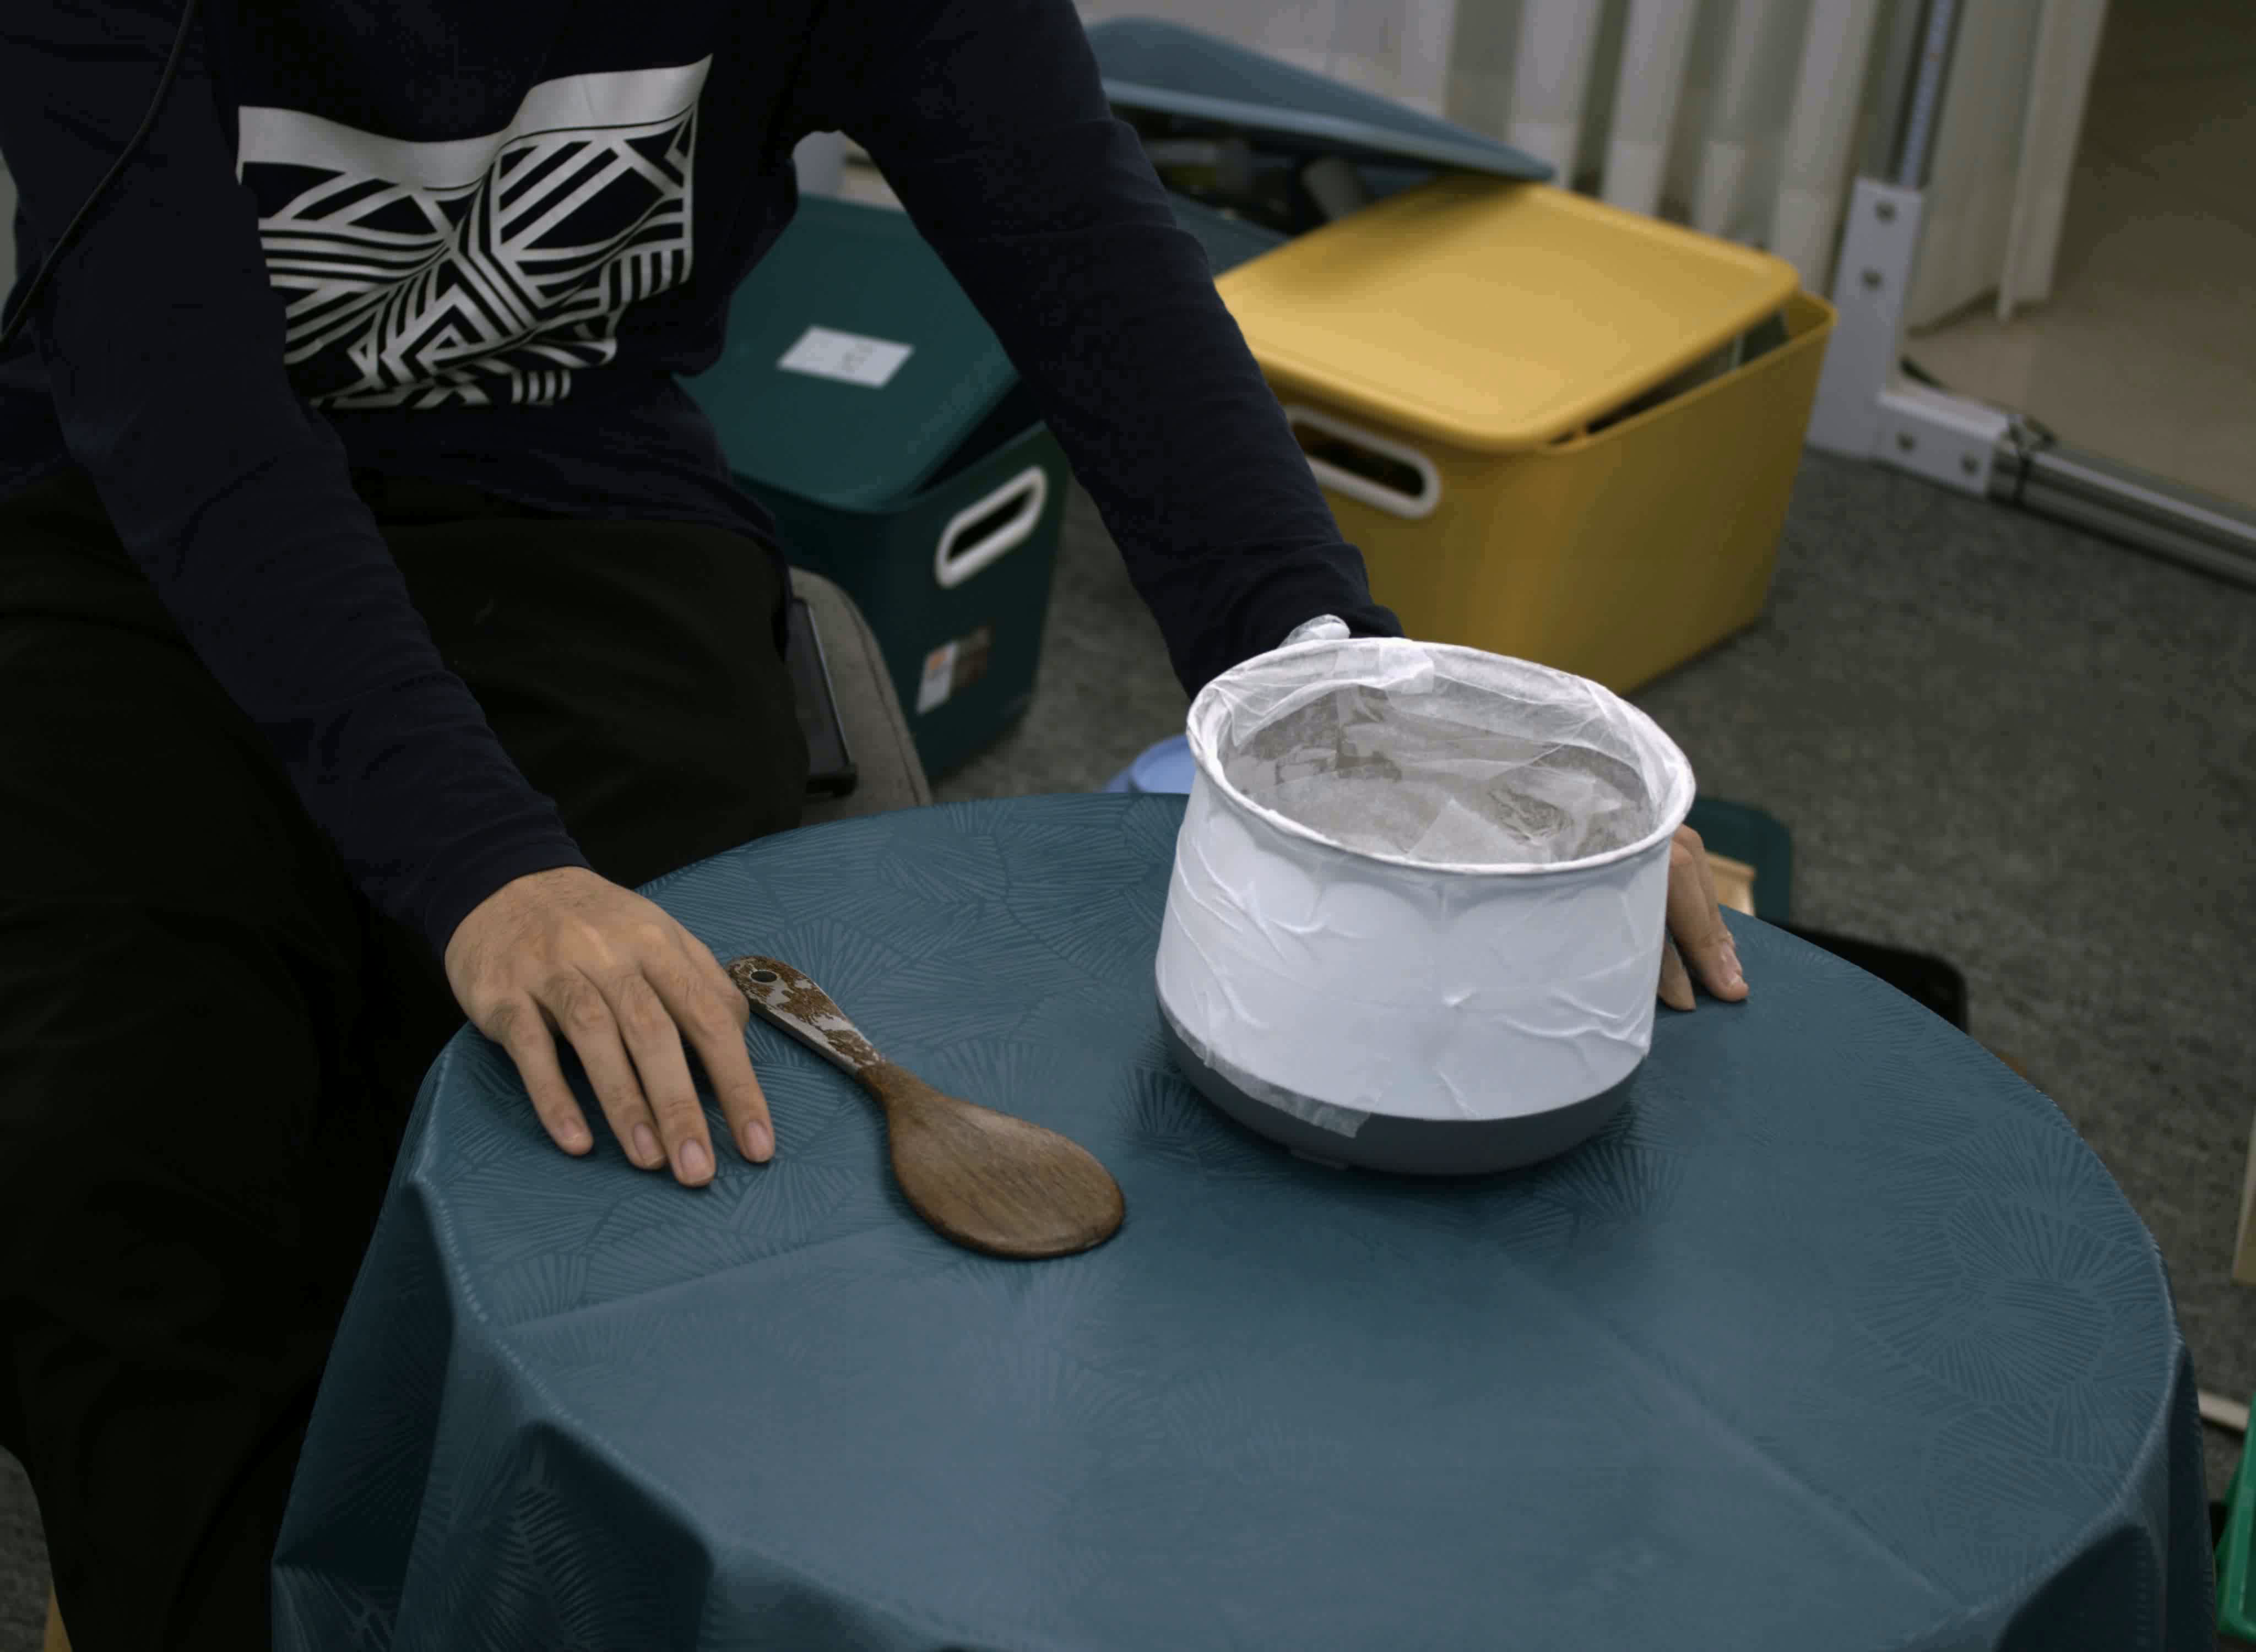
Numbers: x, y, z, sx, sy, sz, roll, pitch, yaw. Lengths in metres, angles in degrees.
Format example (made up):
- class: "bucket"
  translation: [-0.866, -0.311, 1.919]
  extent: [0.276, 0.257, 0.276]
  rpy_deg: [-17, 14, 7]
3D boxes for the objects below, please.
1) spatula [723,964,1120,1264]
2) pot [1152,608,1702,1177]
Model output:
- class: "spatula"
  translation: [-0.078, 0.095, 1.840]
  extent: [0.071, 0.009, 0.217]
  rpy_deg: [-10, 30, -33]
- class: "pot"
  translation: [0.090, 0.016, 1.884]
  extent: [0.177, 0.136, 0.236]
  rpy_deg: [-3, 29, -24]
